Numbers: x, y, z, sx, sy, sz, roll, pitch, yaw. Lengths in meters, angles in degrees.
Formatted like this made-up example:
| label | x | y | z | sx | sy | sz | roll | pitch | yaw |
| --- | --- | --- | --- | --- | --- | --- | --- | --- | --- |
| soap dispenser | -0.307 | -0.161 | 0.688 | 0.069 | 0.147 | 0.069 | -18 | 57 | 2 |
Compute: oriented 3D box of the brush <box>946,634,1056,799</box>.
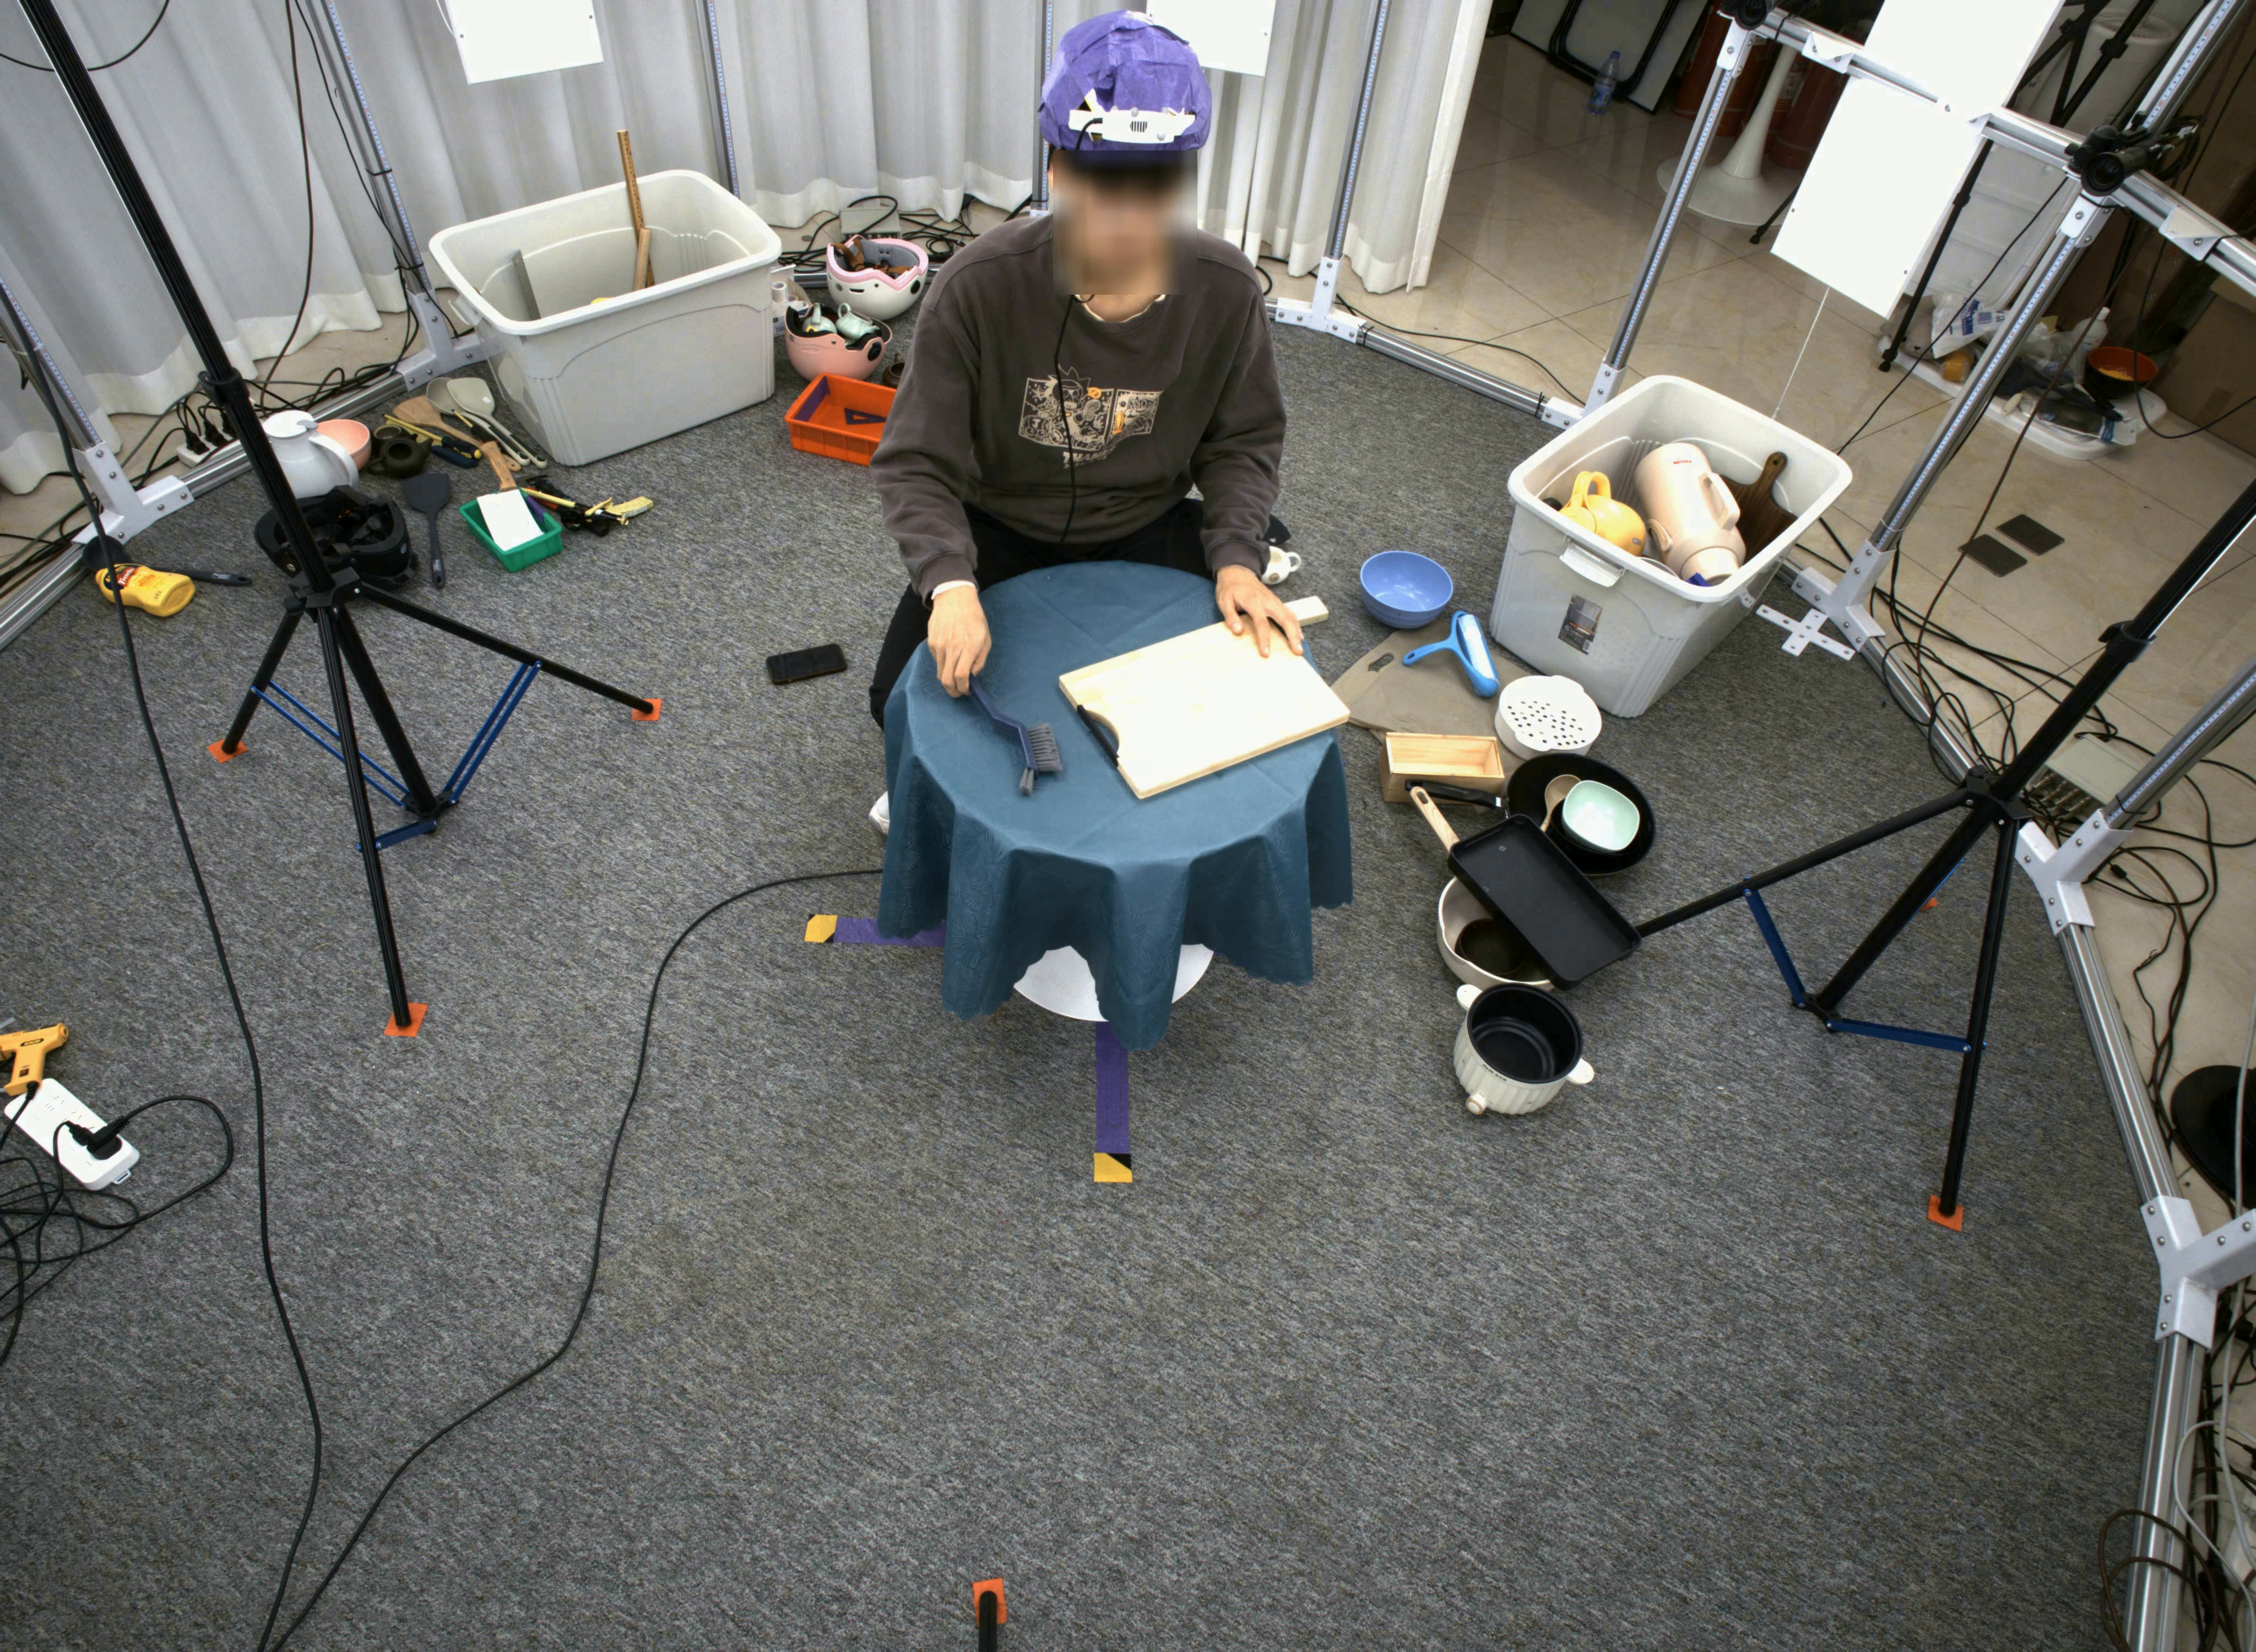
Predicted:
| label | x | y | z | sx | sy | sz | roll | pitch | yaw |
| --- | --- | --- | --- | --- | --- | --- | --- | --- | --- |
| brush | -0.192 | -0.156 | 1.759 | 0.096 | 0.033 | 0.278 | -34 | 63 | -19 |

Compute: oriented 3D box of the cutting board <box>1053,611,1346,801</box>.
| label | x | y | z | sx | sy | sz | roll | pitch | yaw |
| --- | --- | --- | --- | --- | --- | --- | --- | --- | --- |
| cutting board | 0.102 | -0.178 | 1.816 | 0.349 | 0.023 | 0.256 | -21 | 53 | -21 |
